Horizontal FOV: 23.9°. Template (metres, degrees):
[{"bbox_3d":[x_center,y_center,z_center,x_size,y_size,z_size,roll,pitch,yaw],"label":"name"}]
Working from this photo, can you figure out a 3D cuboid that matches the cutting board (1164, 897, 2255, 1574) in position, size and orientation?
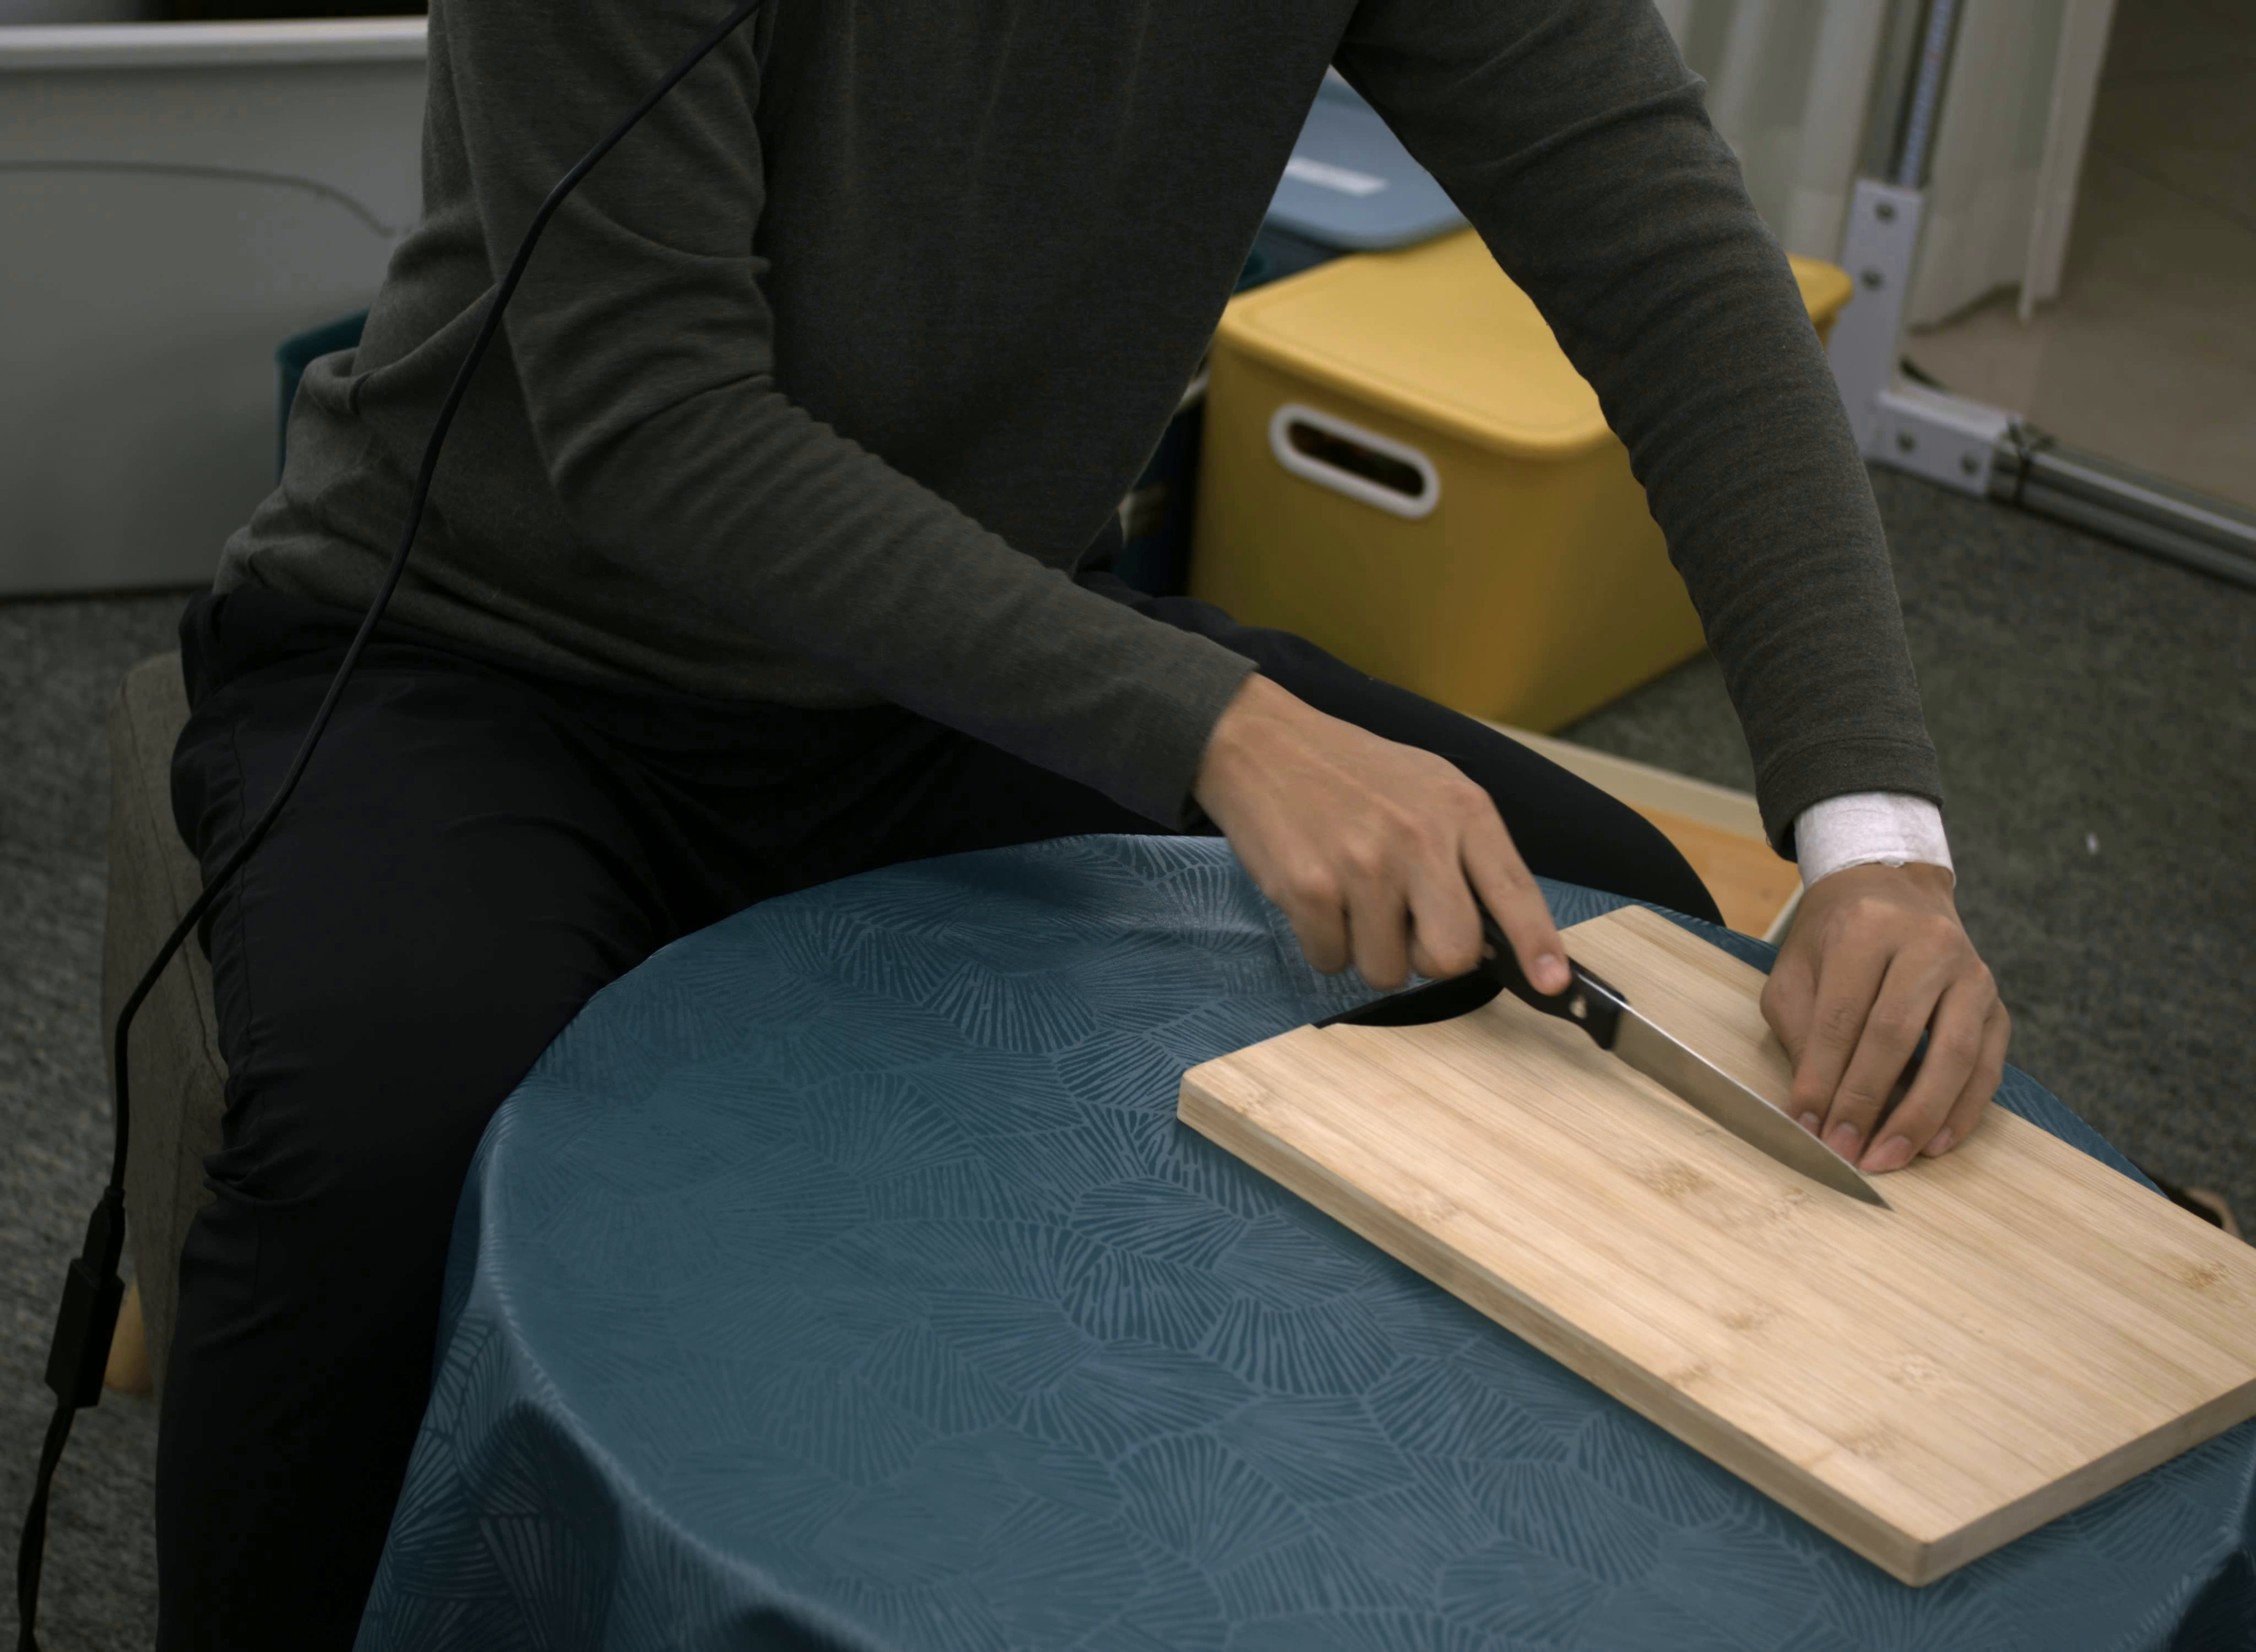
[{"bbox_3d":[0.214,0.131,1.823,0.249,0.023,0.351,-18,36,-40],"label":"cutting board"}]

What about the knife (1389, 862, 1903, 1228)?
[{"bbox_3d":[0.180,0.075,1.863,0.016,0.024,0.240,-25,47,-37],"label":"knife"}]
